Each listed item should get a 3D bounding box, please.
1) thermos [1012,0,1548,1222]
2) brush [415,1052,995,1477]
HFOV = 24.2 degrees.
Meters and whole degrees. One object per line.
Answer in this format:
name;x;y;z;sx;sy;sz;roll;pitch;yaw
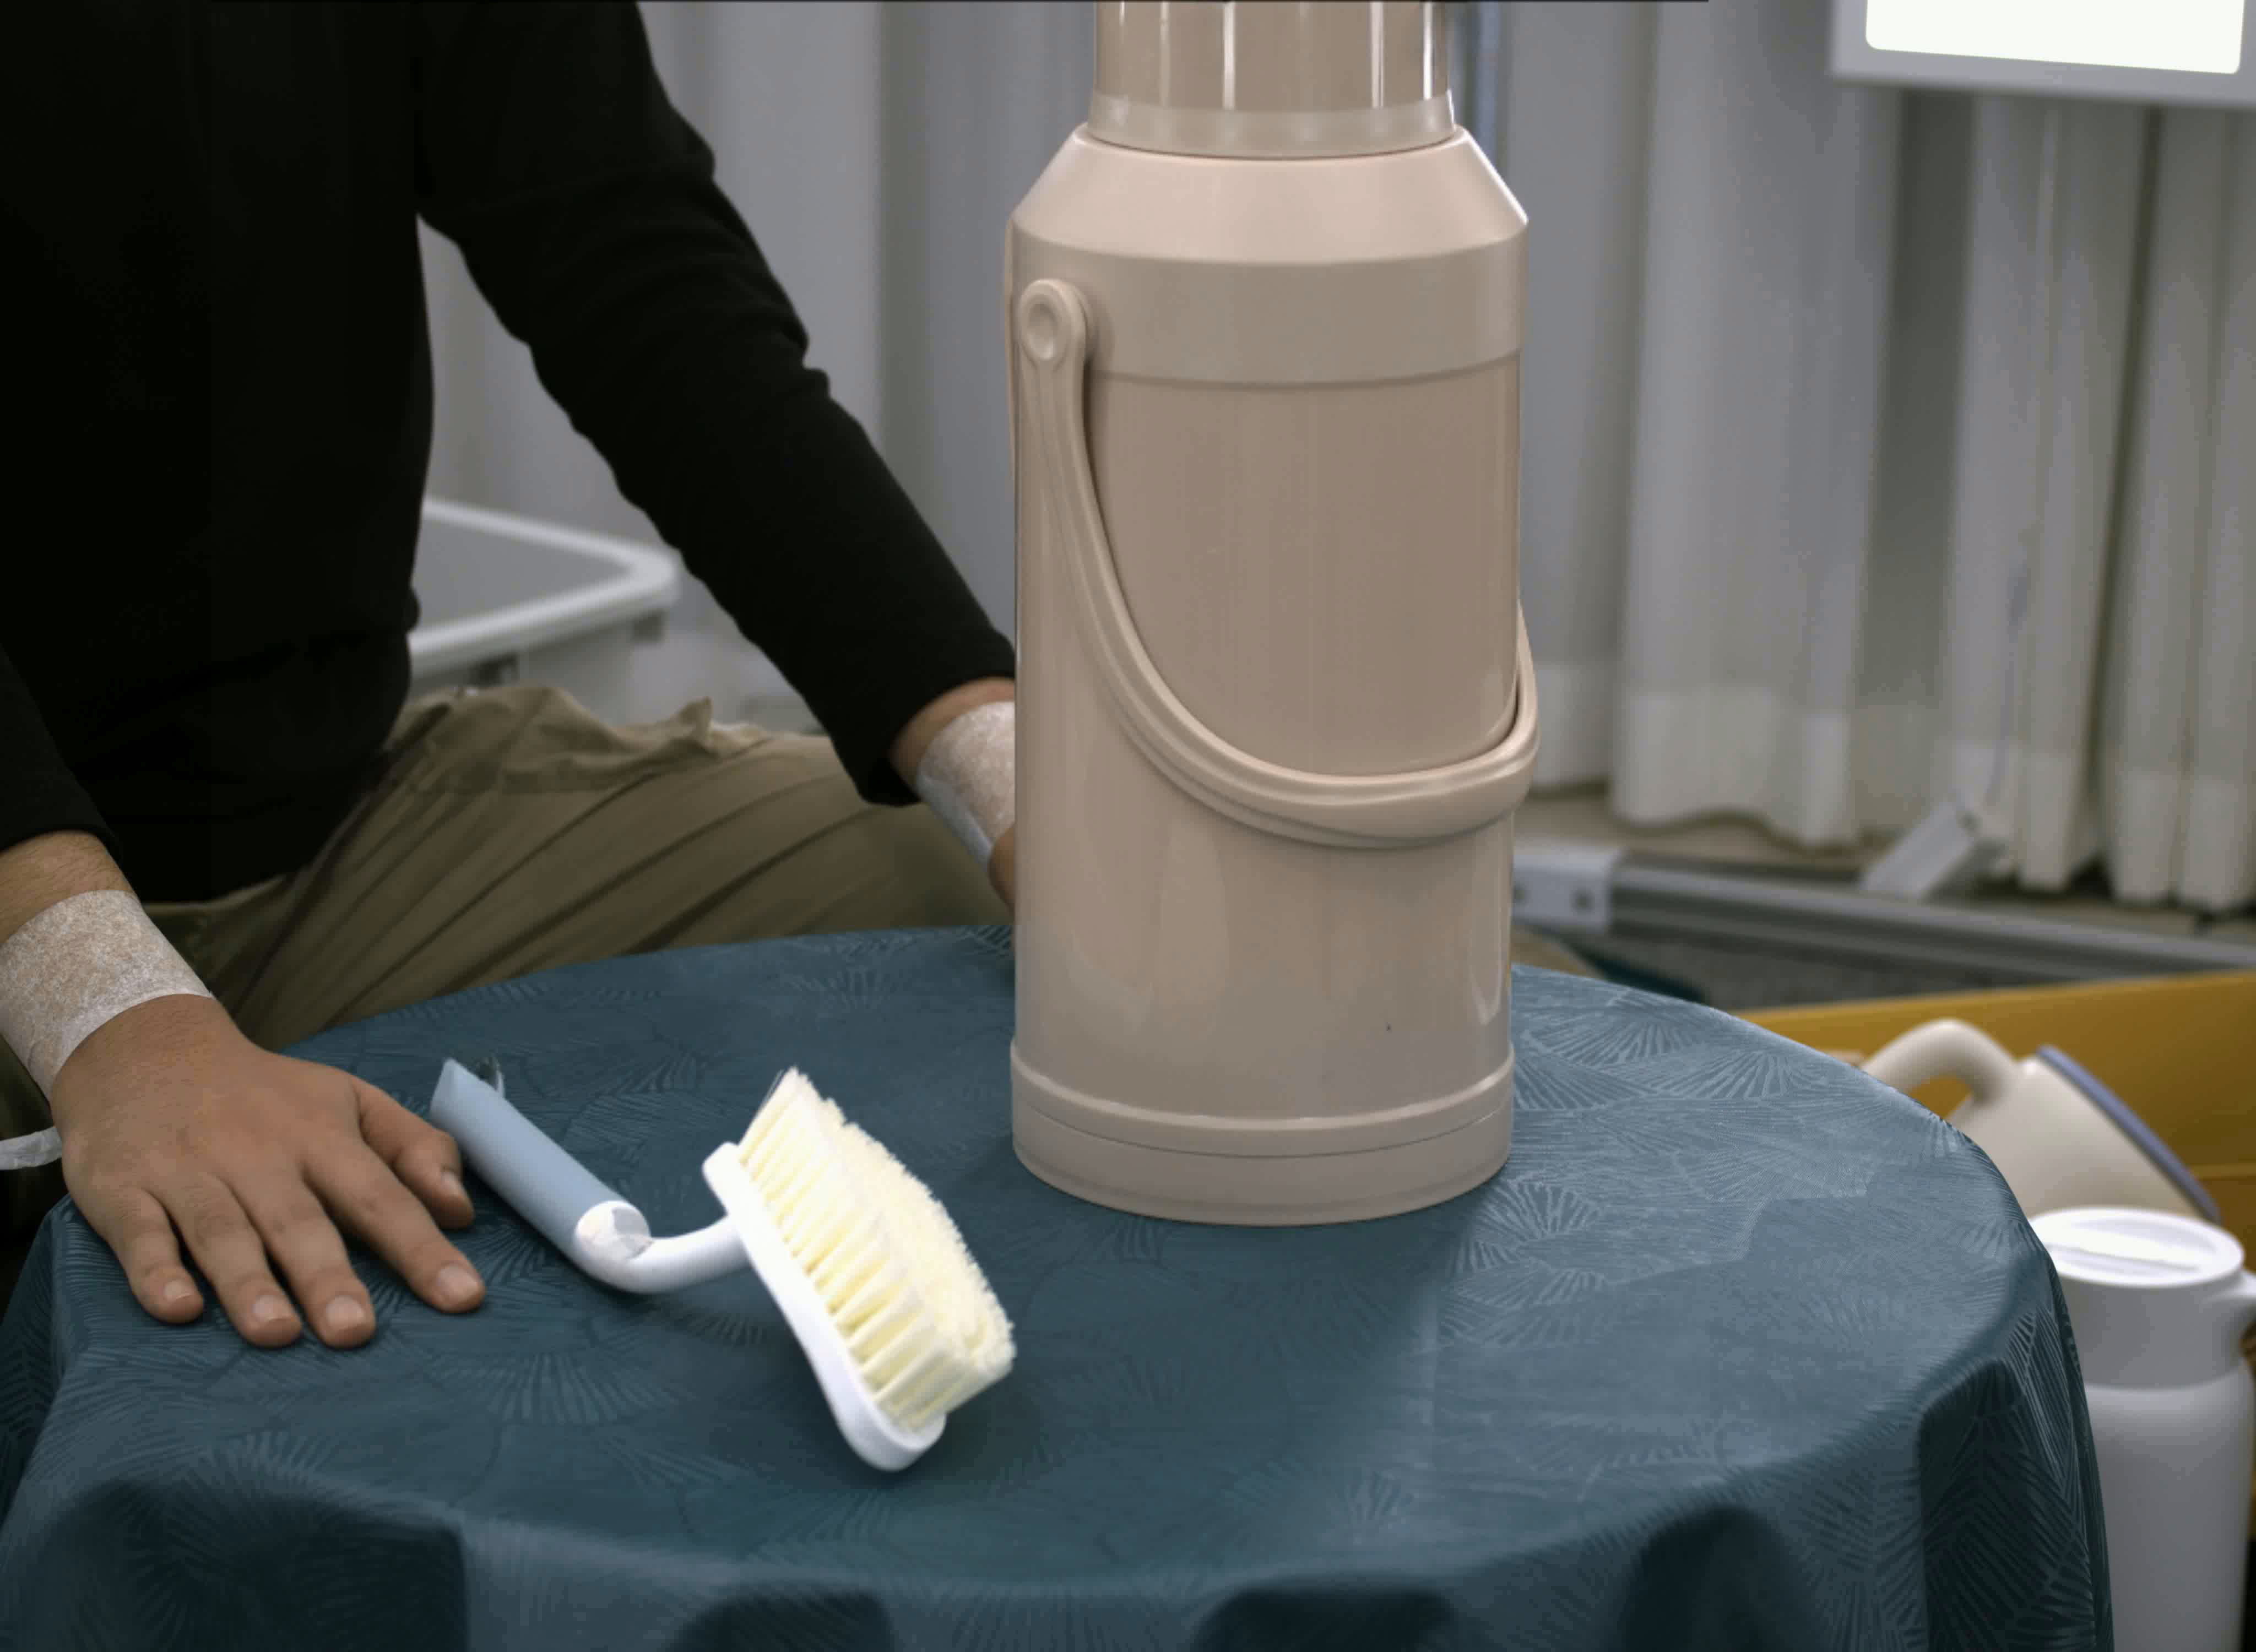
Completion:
thermos;0.037;-0.094;1.622;0.176;0.410;0.204;-15;22;-38
brush;-0.121;0.096;1.524;0.085;0.084;0.321;-14;22;-24
